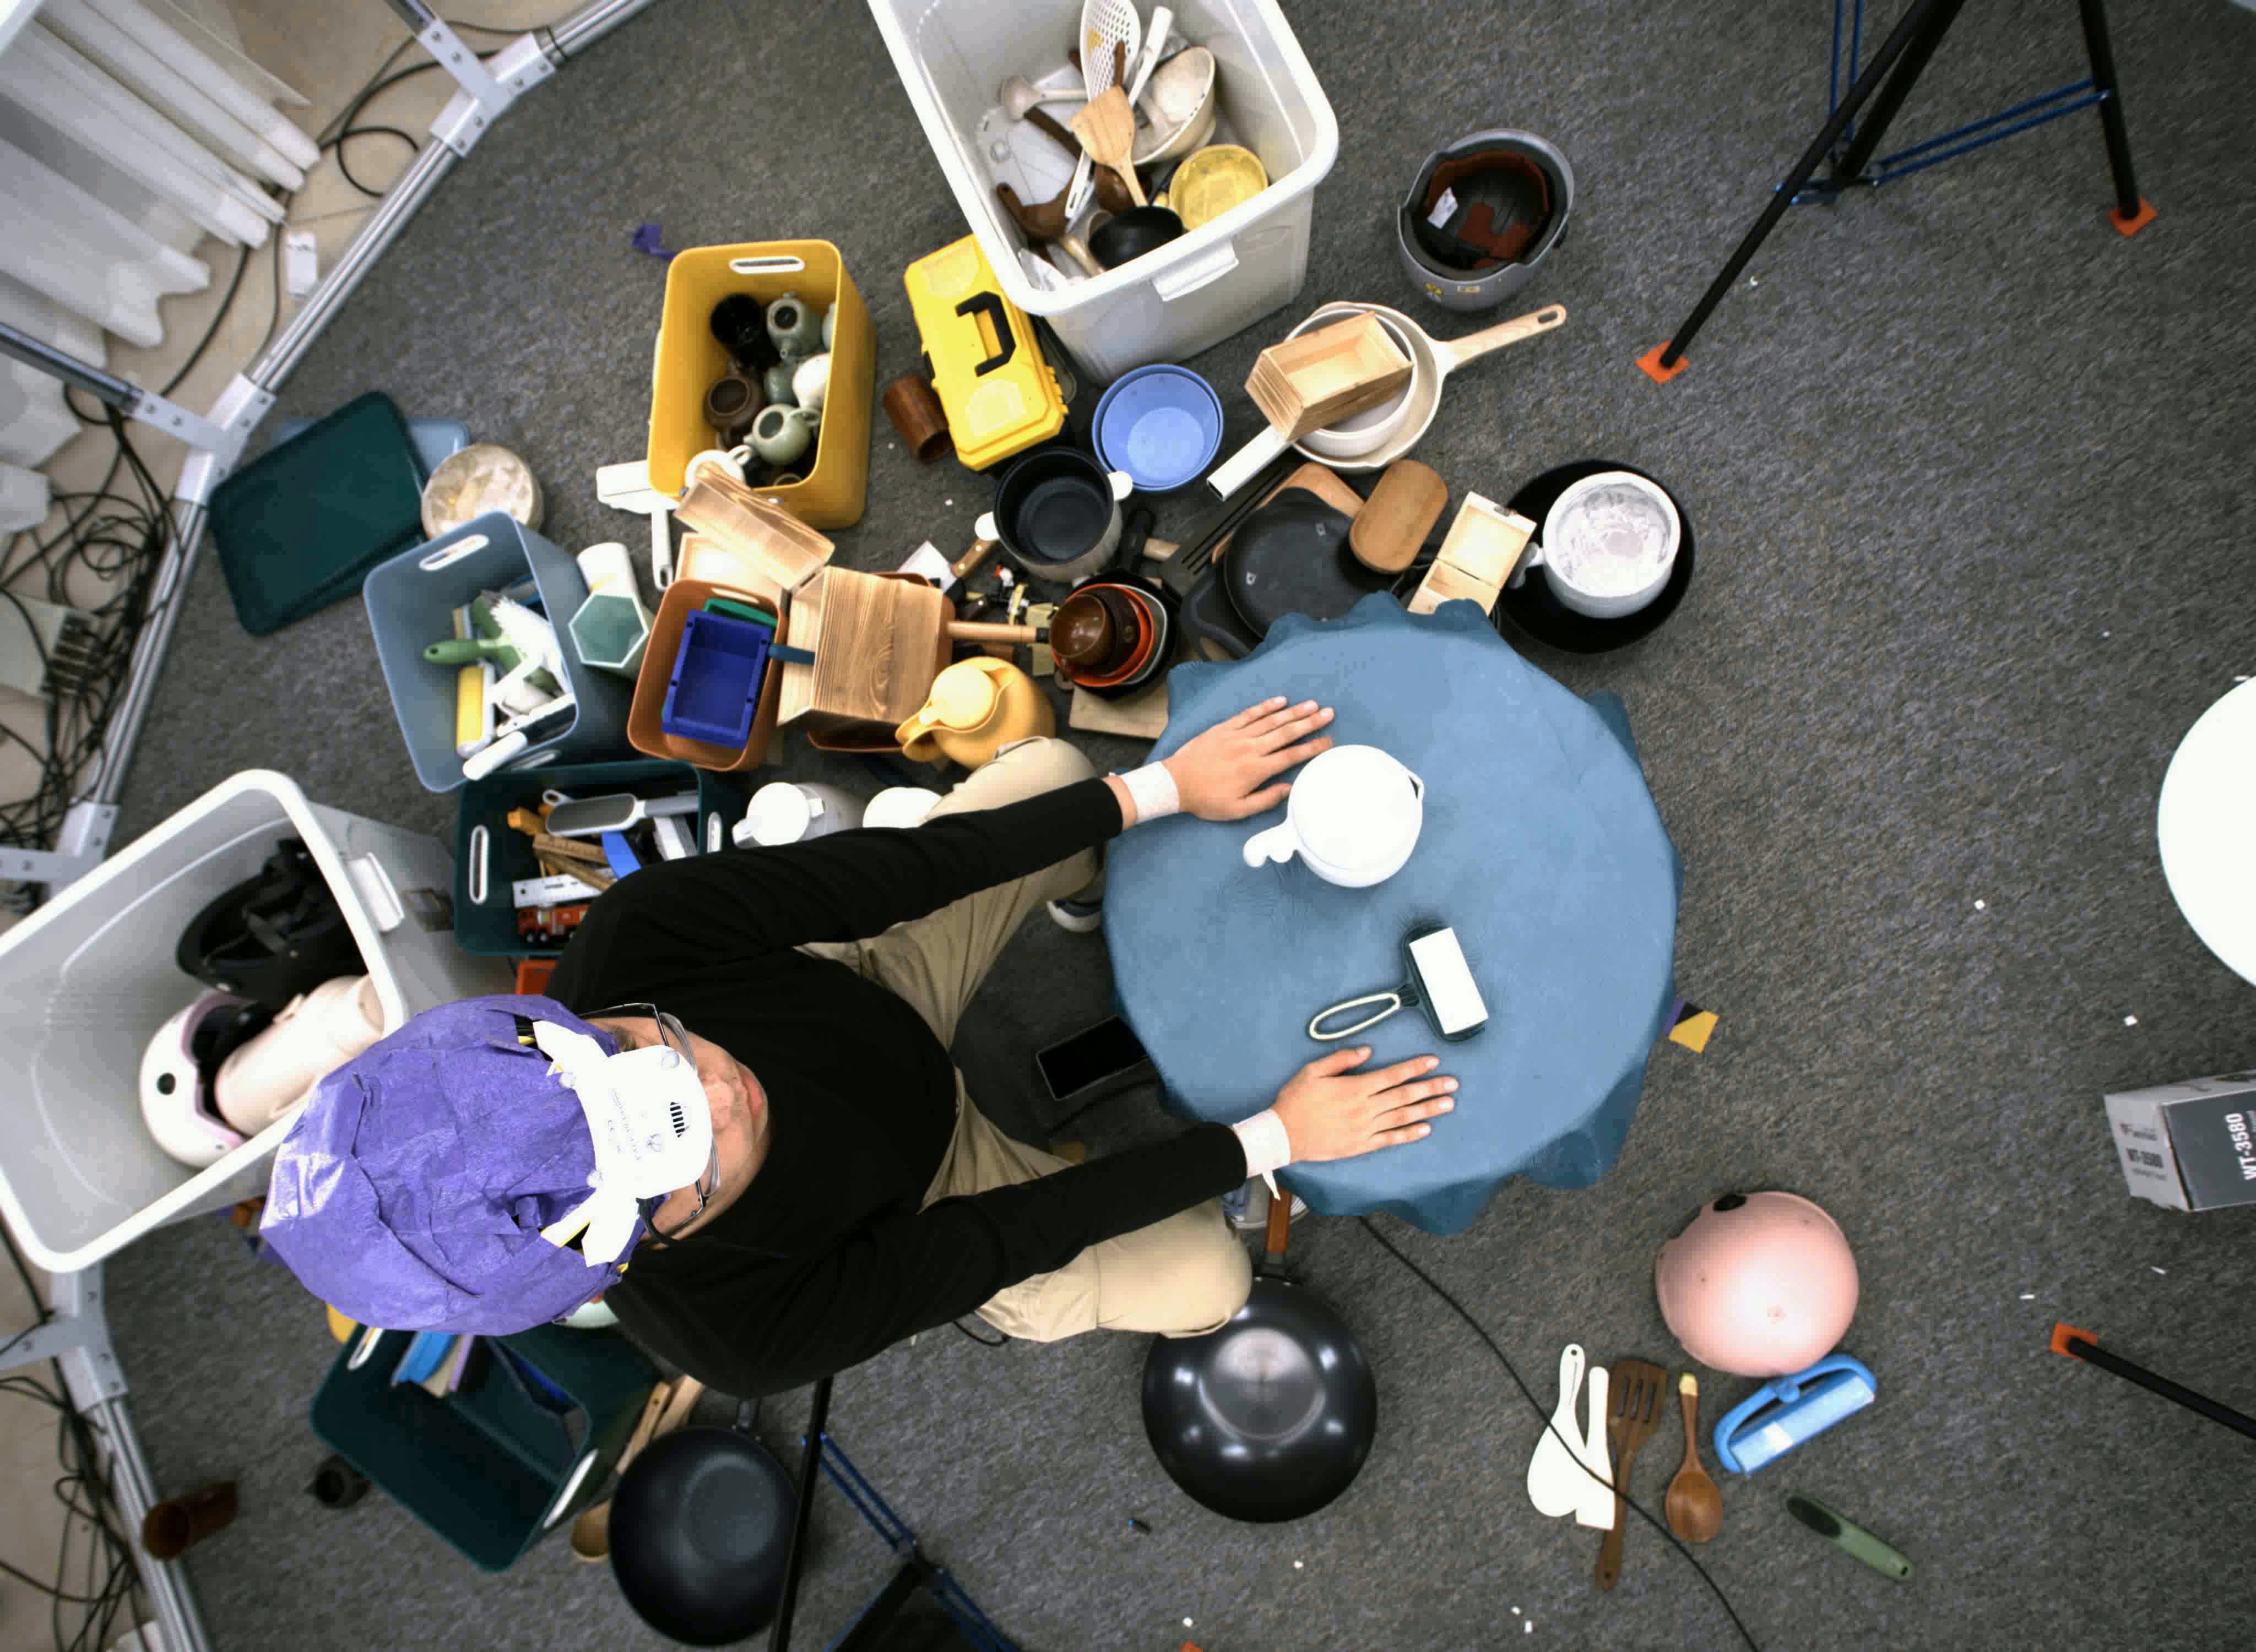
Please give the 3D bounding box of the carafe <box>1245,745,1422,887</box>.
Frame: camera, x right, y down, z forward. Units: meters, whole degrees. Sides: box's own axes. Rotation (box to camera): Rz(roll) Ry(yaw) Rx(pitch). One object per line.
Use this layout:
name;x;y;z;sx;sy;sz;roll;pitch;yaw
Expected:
carafe;0.205;0.000;1.389;0.192;0.182;0.131;-22;81;10

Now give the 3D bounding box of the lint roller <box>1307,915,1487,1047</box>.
lint roller;0.268;0.184;1.433;0.181;0.048;0.133;-23;83;11
